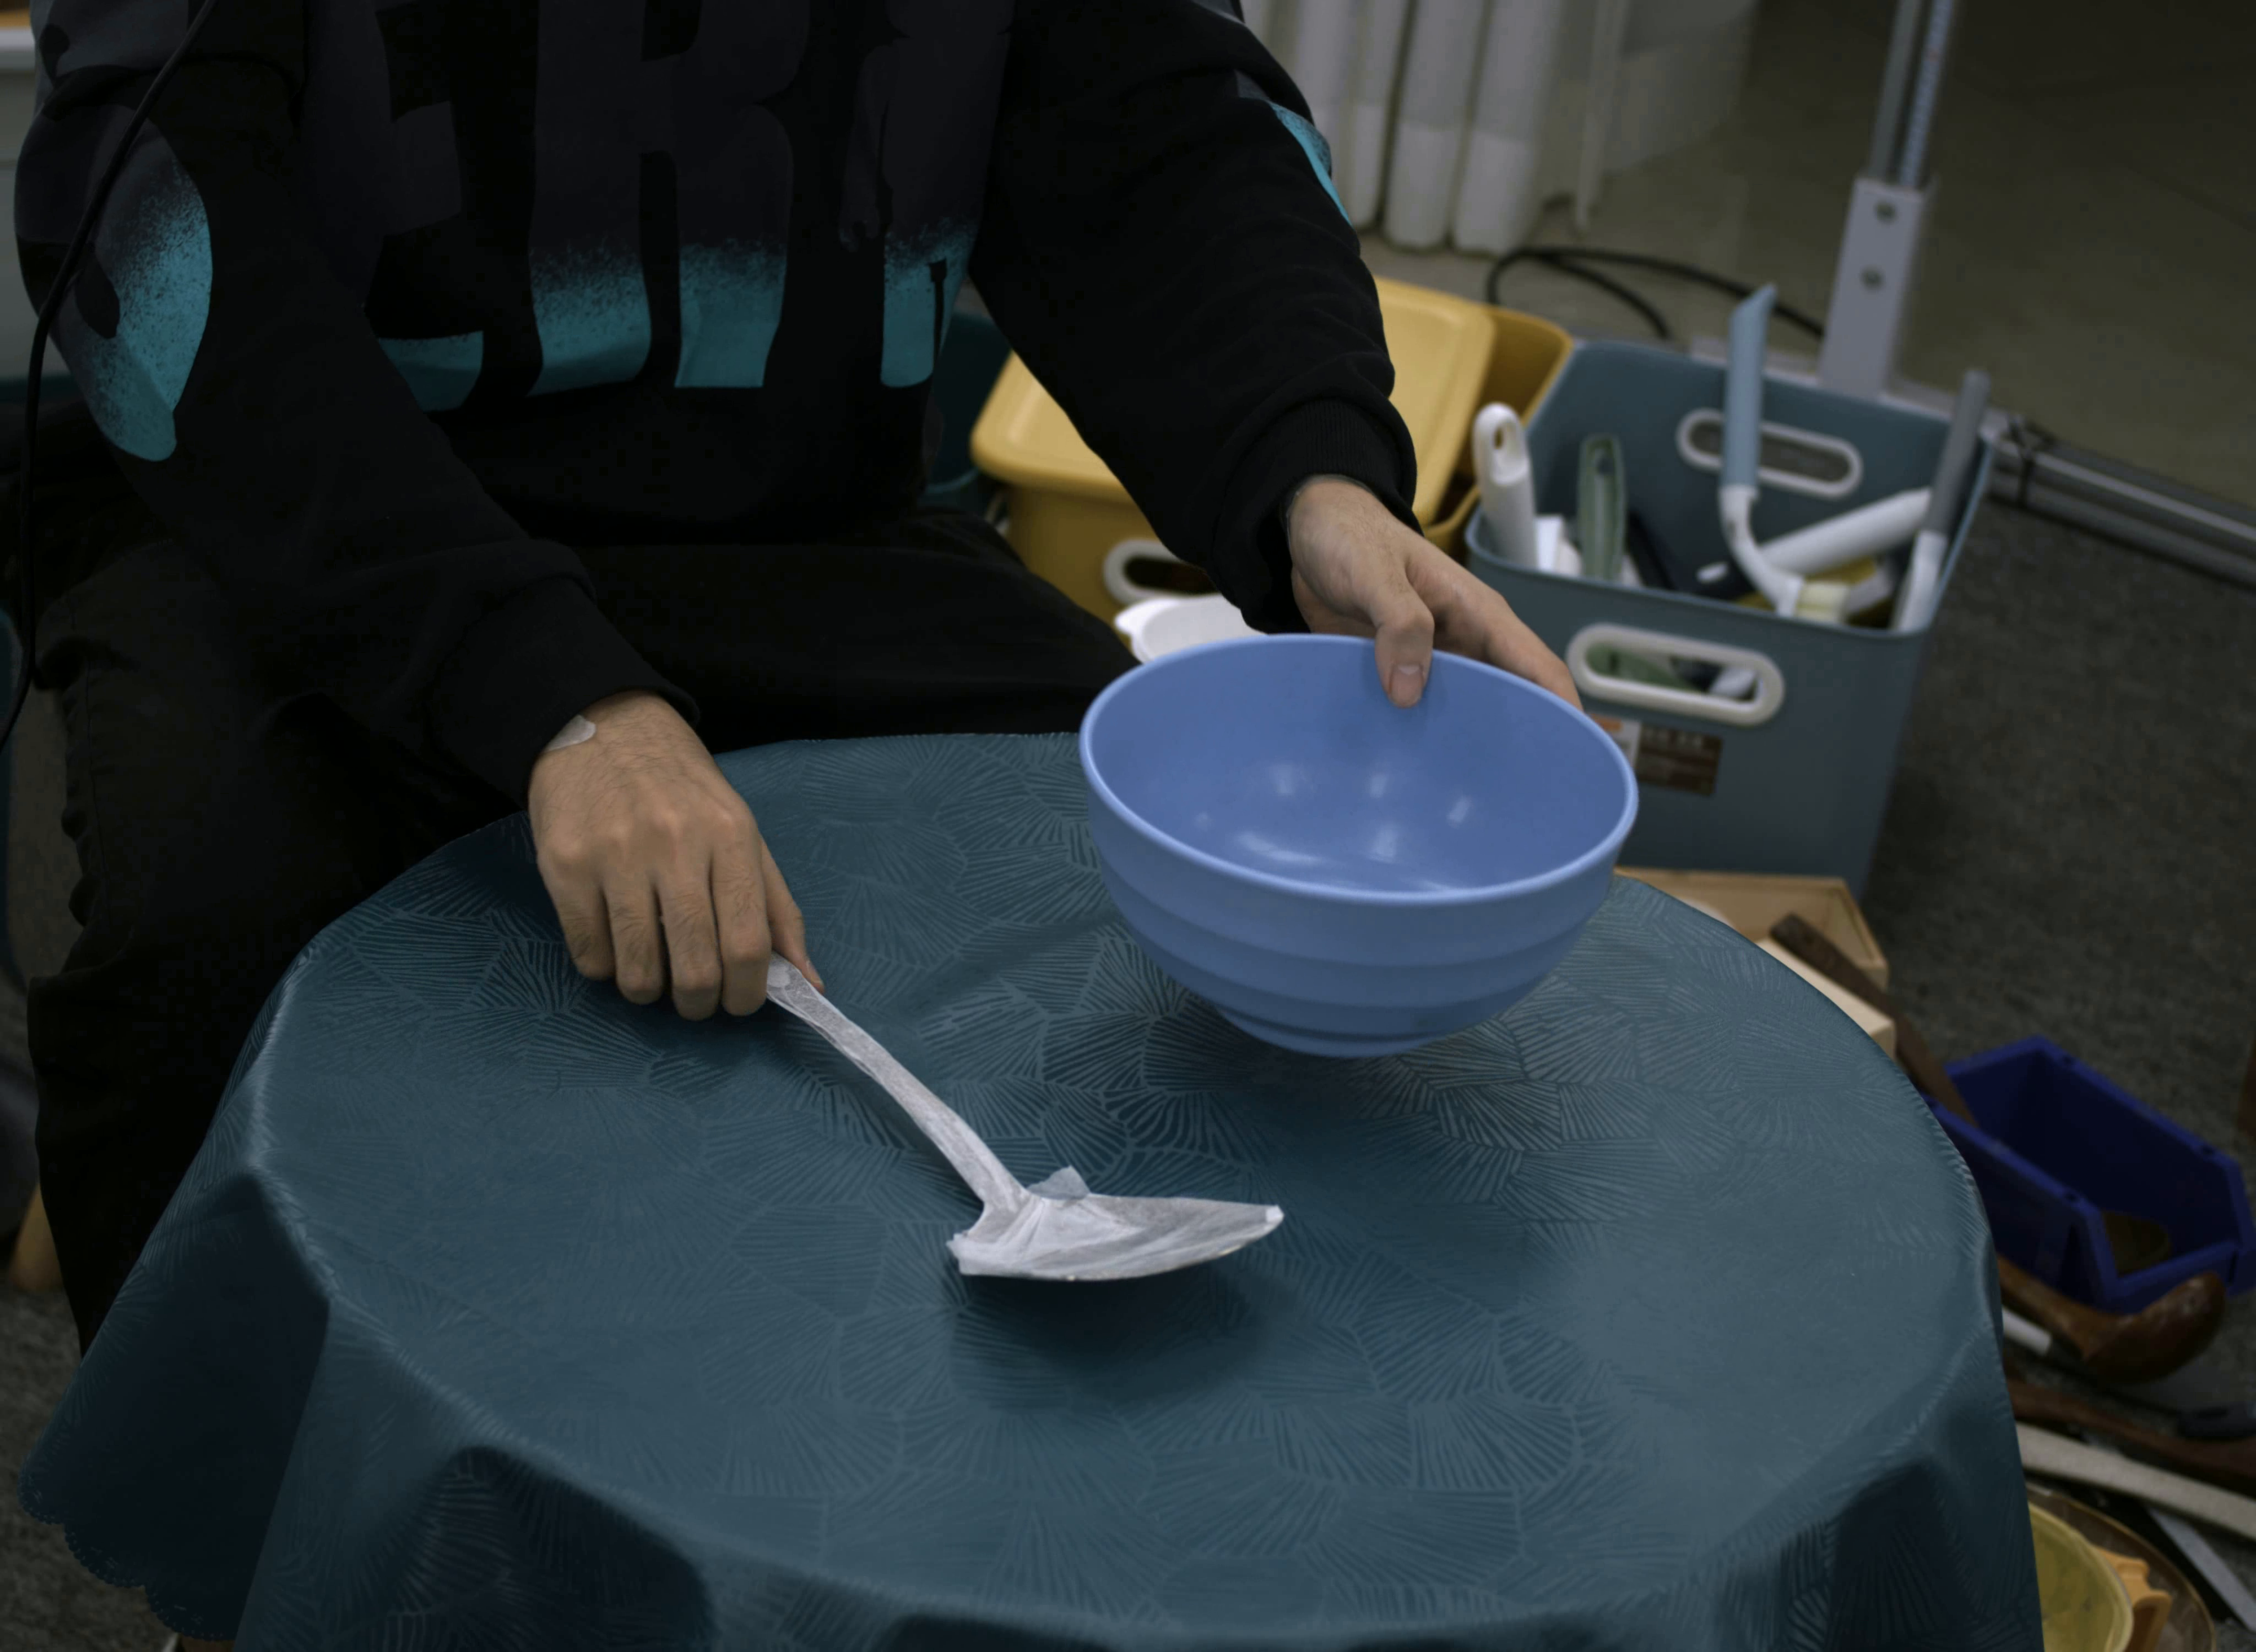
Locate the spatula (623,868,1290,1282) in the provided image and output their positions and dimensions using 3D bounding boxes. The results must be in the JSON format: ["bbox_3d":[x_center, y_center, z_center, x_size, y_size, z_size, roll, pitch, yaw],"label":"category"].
[{"bbox_3d":[-0.082,0.078,1.830,0.098,0.044,0.368,-15,34,-32],"label":"spatula"}]

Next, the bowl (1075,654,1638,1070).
[{"bbox_3d":[0.077,0.023,1.871,0.196,0.095,0.197,2,27,-1],"label":"bowl"}]
